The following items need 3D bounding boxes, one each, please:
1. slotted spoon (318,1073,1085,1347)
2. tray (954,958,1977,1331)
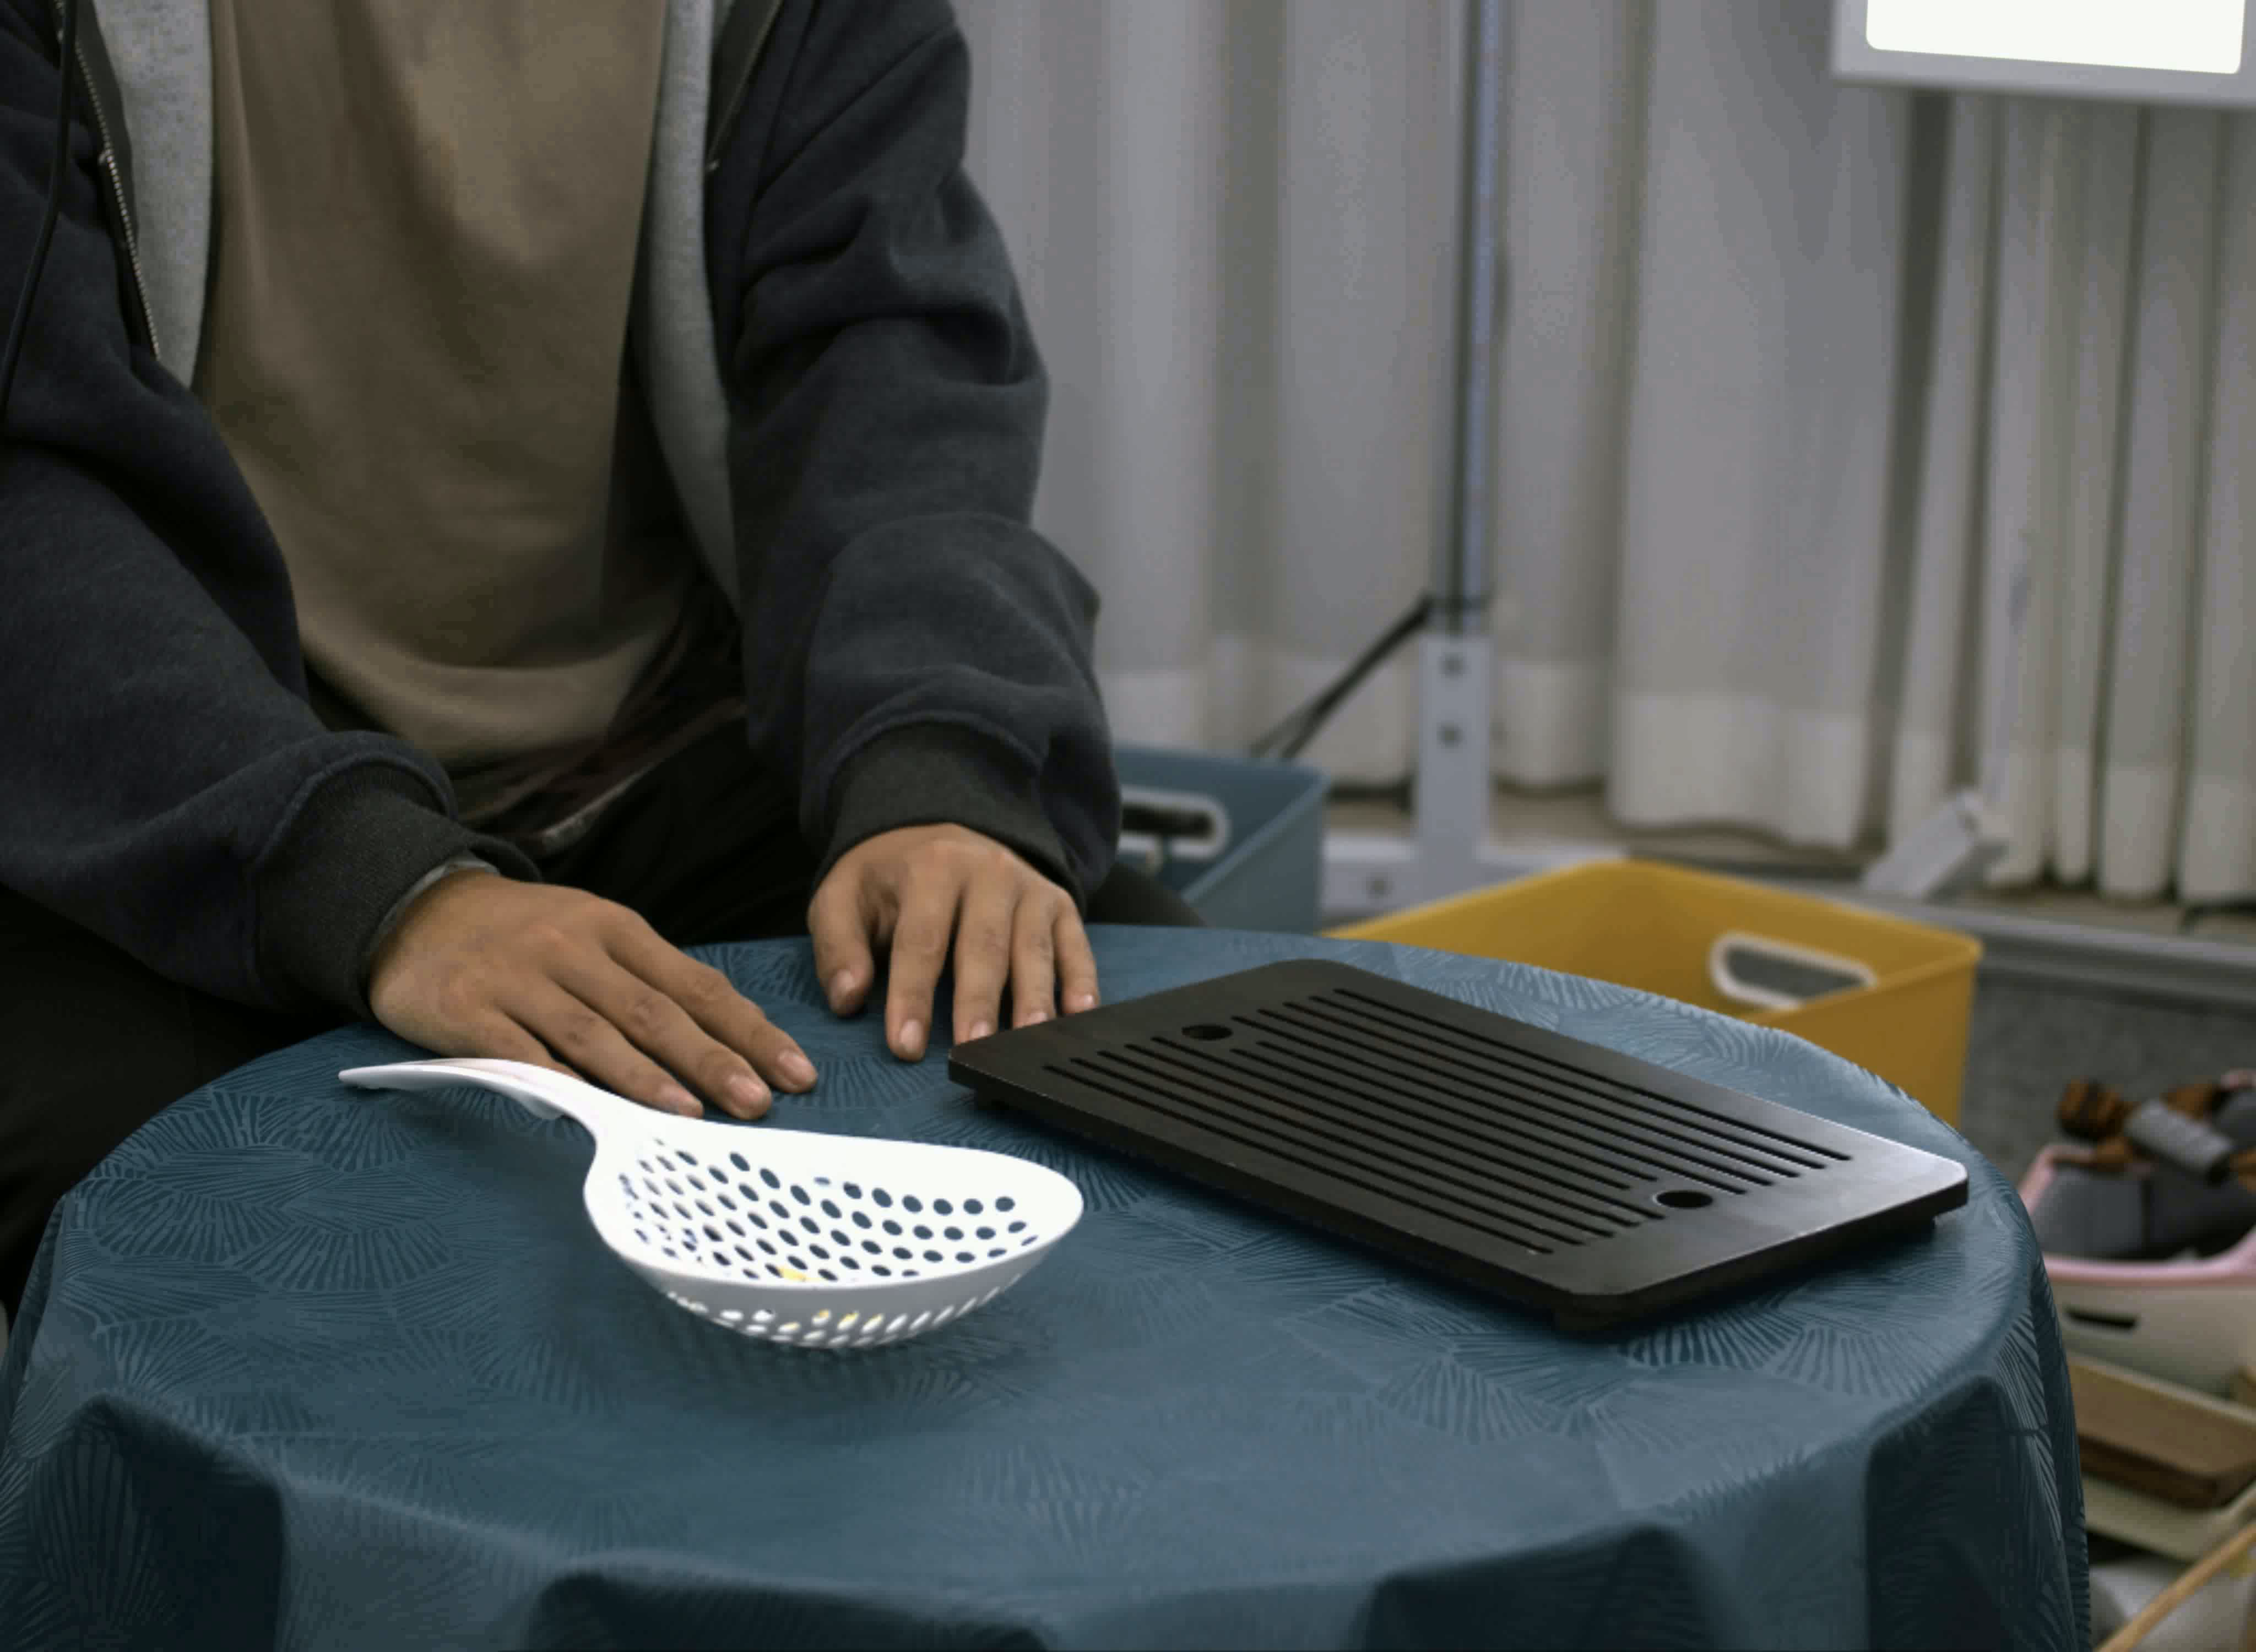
[{"bbox_3d":[-0.148,0.101,1.580,0.137,0.051,0.343,-14,21,-36],"label":"slotted spoon"},{"bbox_3d":[0.100,0.096,1.652,0.171,0.019,0.302,-13,20,-40],"label":"tray"}]
